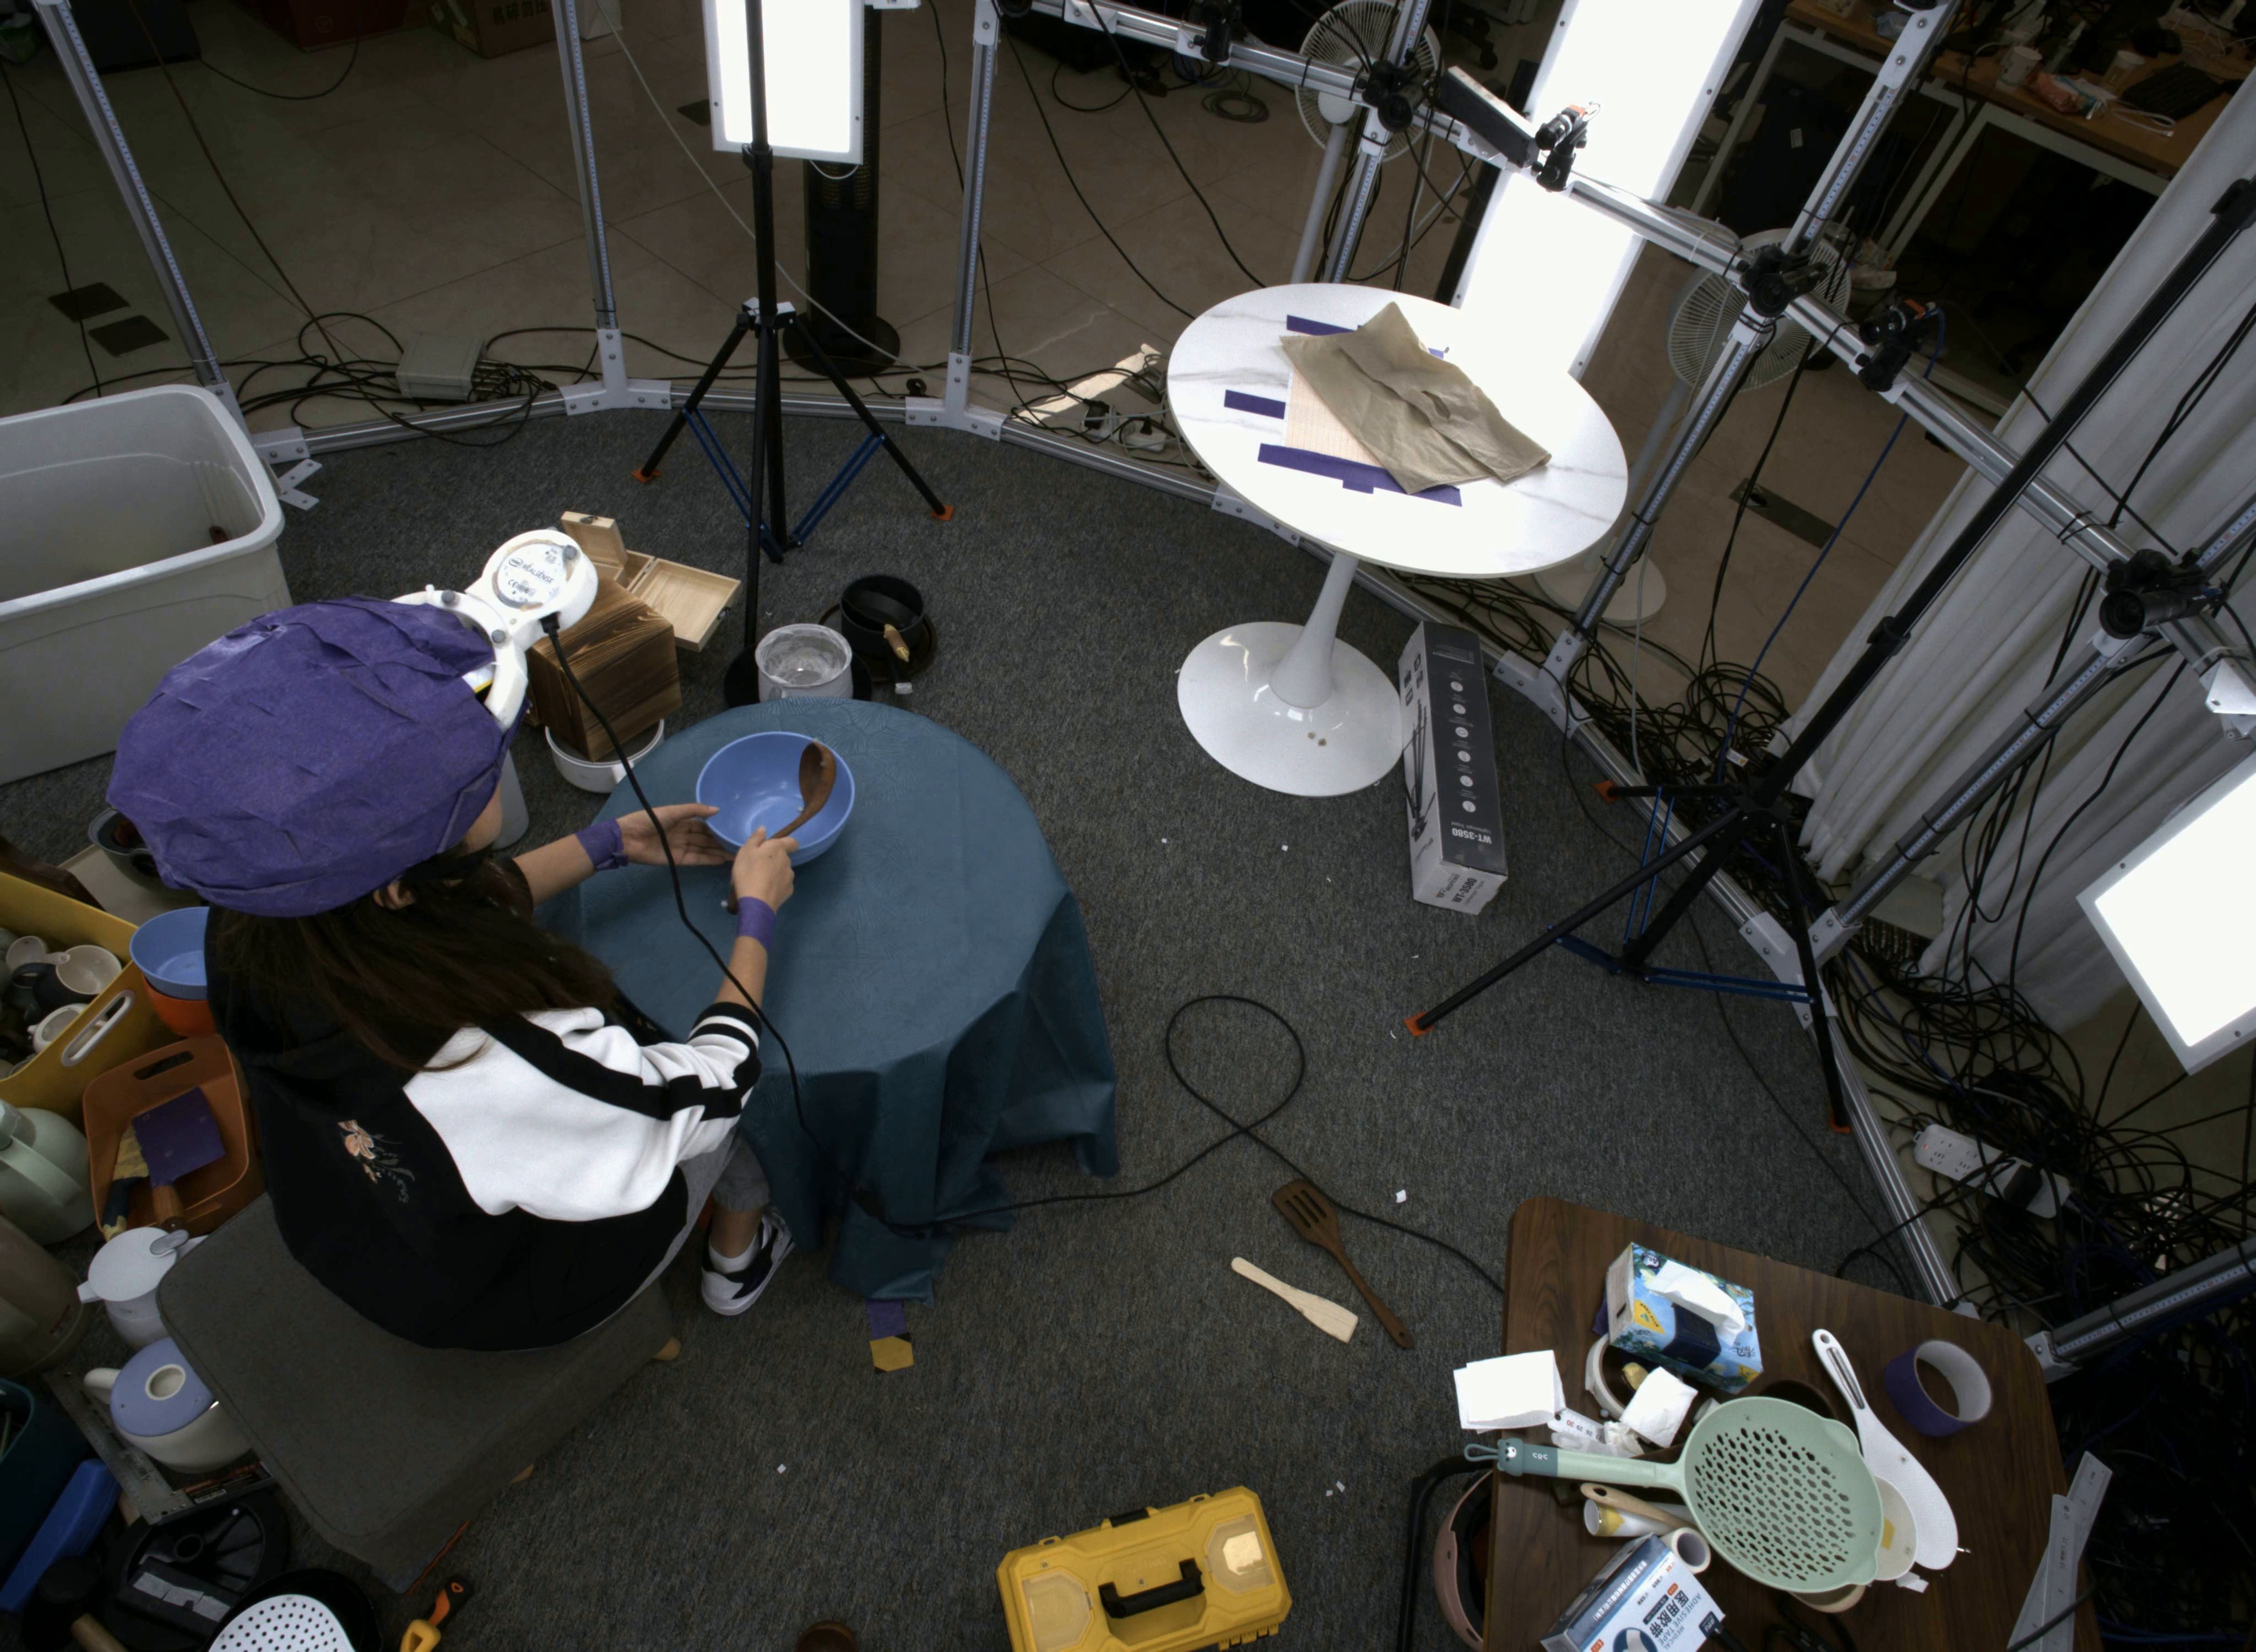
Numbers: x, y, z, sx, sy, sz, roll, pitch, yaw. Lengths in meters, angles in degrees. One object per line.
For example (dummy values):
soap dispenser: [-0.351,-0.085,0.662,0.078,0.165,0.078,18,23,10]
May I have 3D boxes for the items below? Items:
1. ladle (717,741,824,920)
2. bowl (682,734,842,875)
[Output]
ladle: [-0.433,0.000,1.531,0.066,0.076,0.258,35,49,-9]
bowl: [-0.470,-0.014,1.657,0.197,0.097,0.193,12,51,-13]
